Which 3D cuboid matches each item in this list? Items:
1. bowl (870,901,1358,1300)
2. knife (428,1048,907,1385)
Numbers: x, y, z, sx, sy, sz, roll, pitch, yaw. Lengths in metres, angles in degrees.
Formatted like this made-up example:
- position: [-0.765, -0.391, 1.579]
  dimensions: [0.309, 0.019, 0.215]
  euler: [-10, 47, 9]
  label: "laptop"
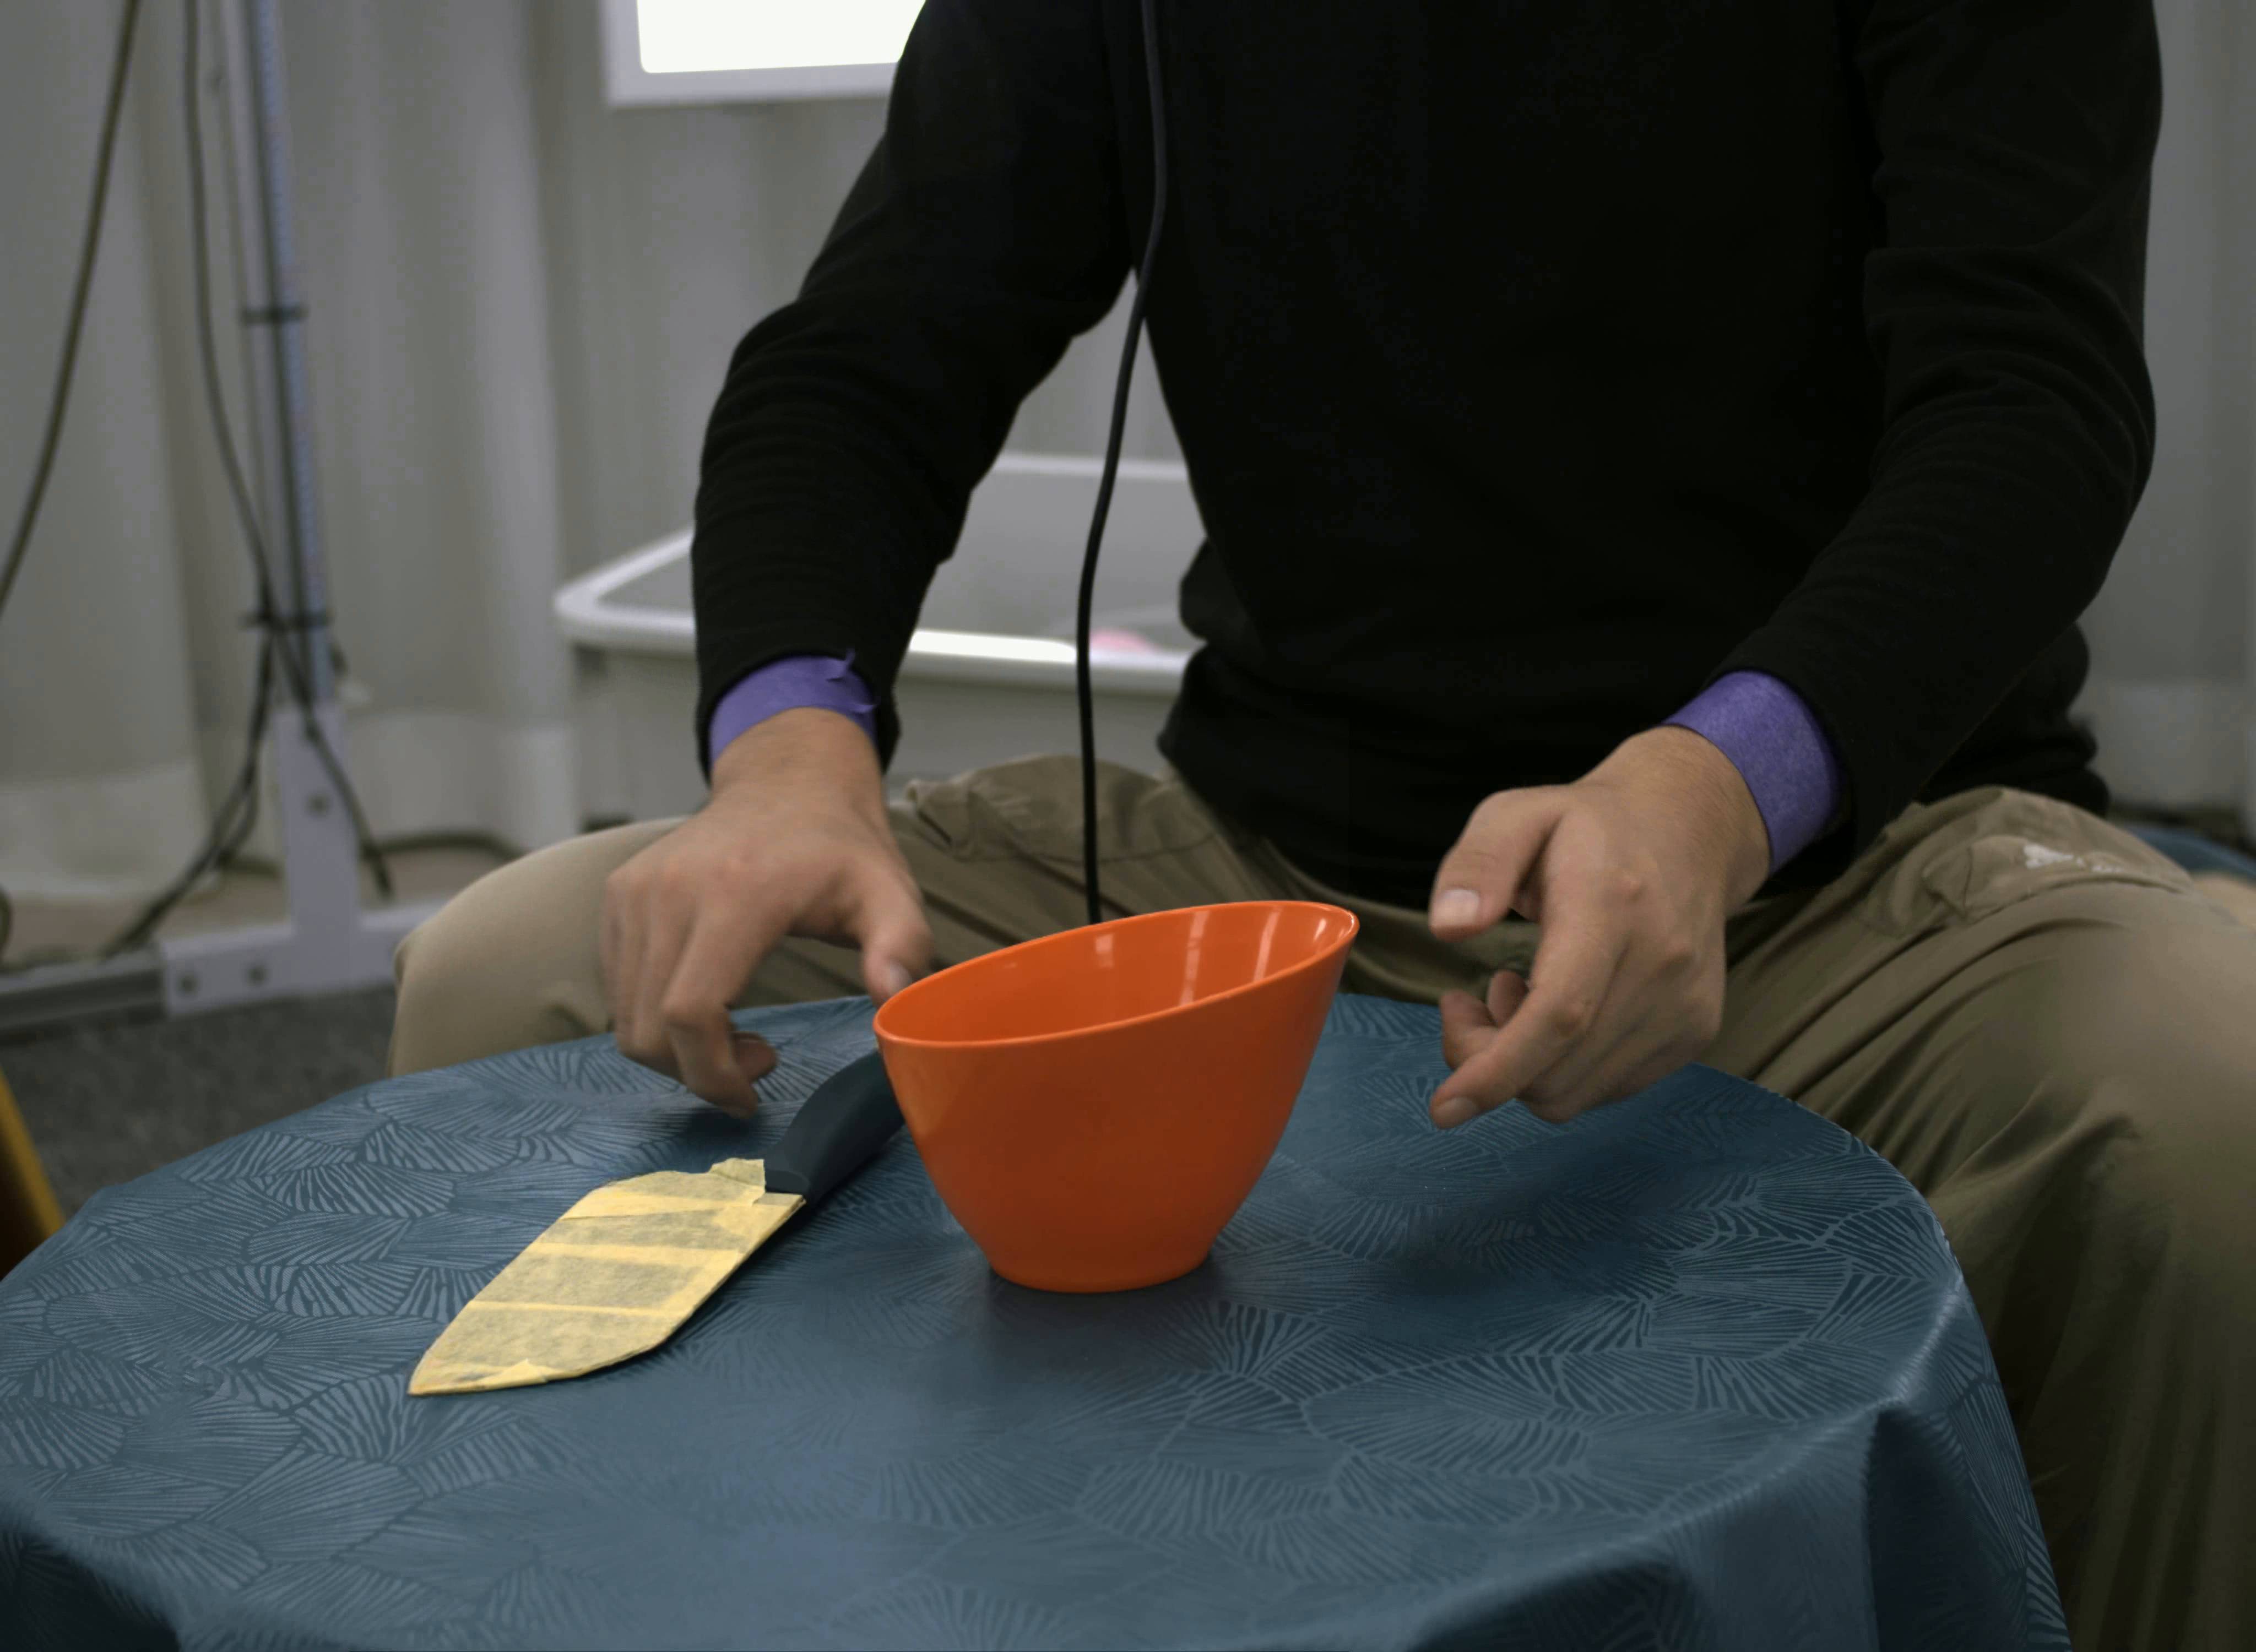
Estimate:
- position: [-0.002, 0.083, 1.637]
  dimensions: [0.147, 0.104, 0.149]
  euler: [-4, 15, 1]
  label: "bowl"
- position: [-0.135, 0.120, 1.693]
  dimensions: [0.081, 0.027, 0.290]
  euler: [5, 18, 21]
  label: "knife"
